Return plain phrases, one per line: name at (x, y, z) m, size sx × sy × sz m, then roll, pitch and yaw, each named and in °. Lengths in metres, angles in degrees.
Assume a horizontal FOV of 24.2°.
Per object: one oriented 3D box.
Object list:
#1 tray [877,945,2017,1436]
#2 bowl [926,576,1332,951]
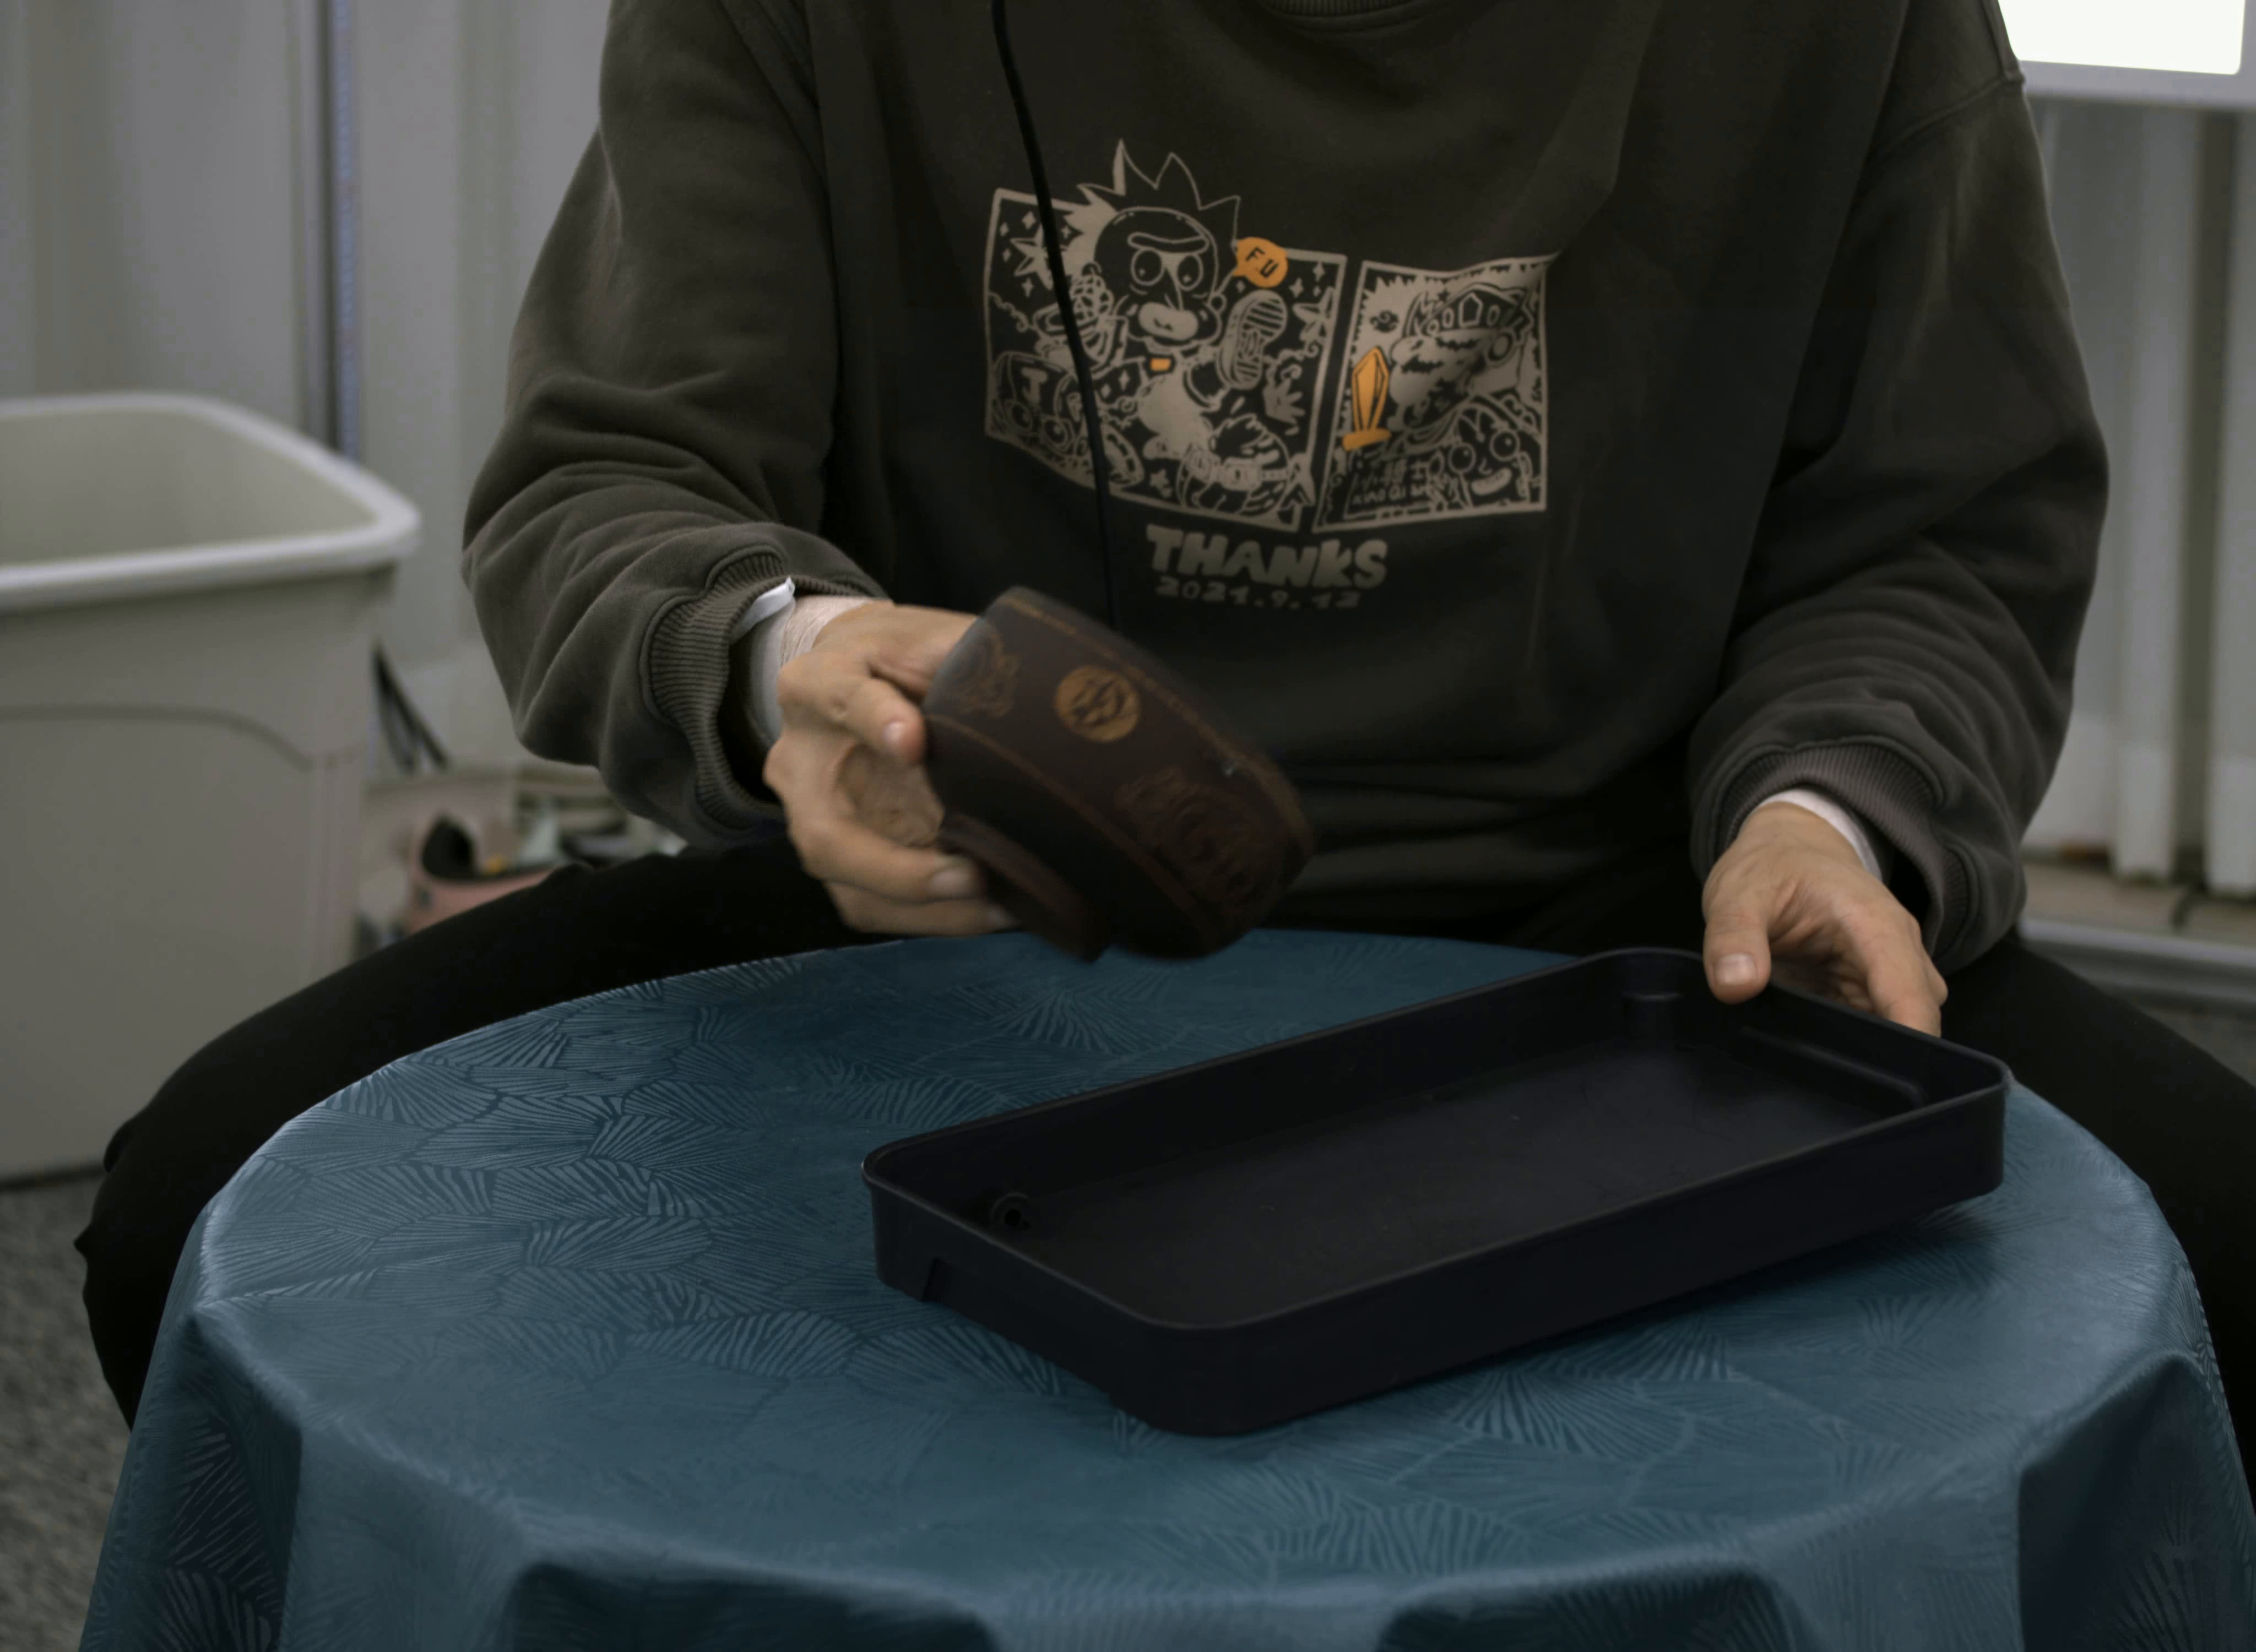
tray at (0.098, 0.103, 1.578) m, size 0.319 × 0.037 × 0.182 m, roll -14°, pitch 20°, yaw -34°
bowl at (-0.008, -0.009, 1.492) m, size 0.117 × 0.070 × 0.118 m, roll 34°, pitch -13°, yaw 9°
